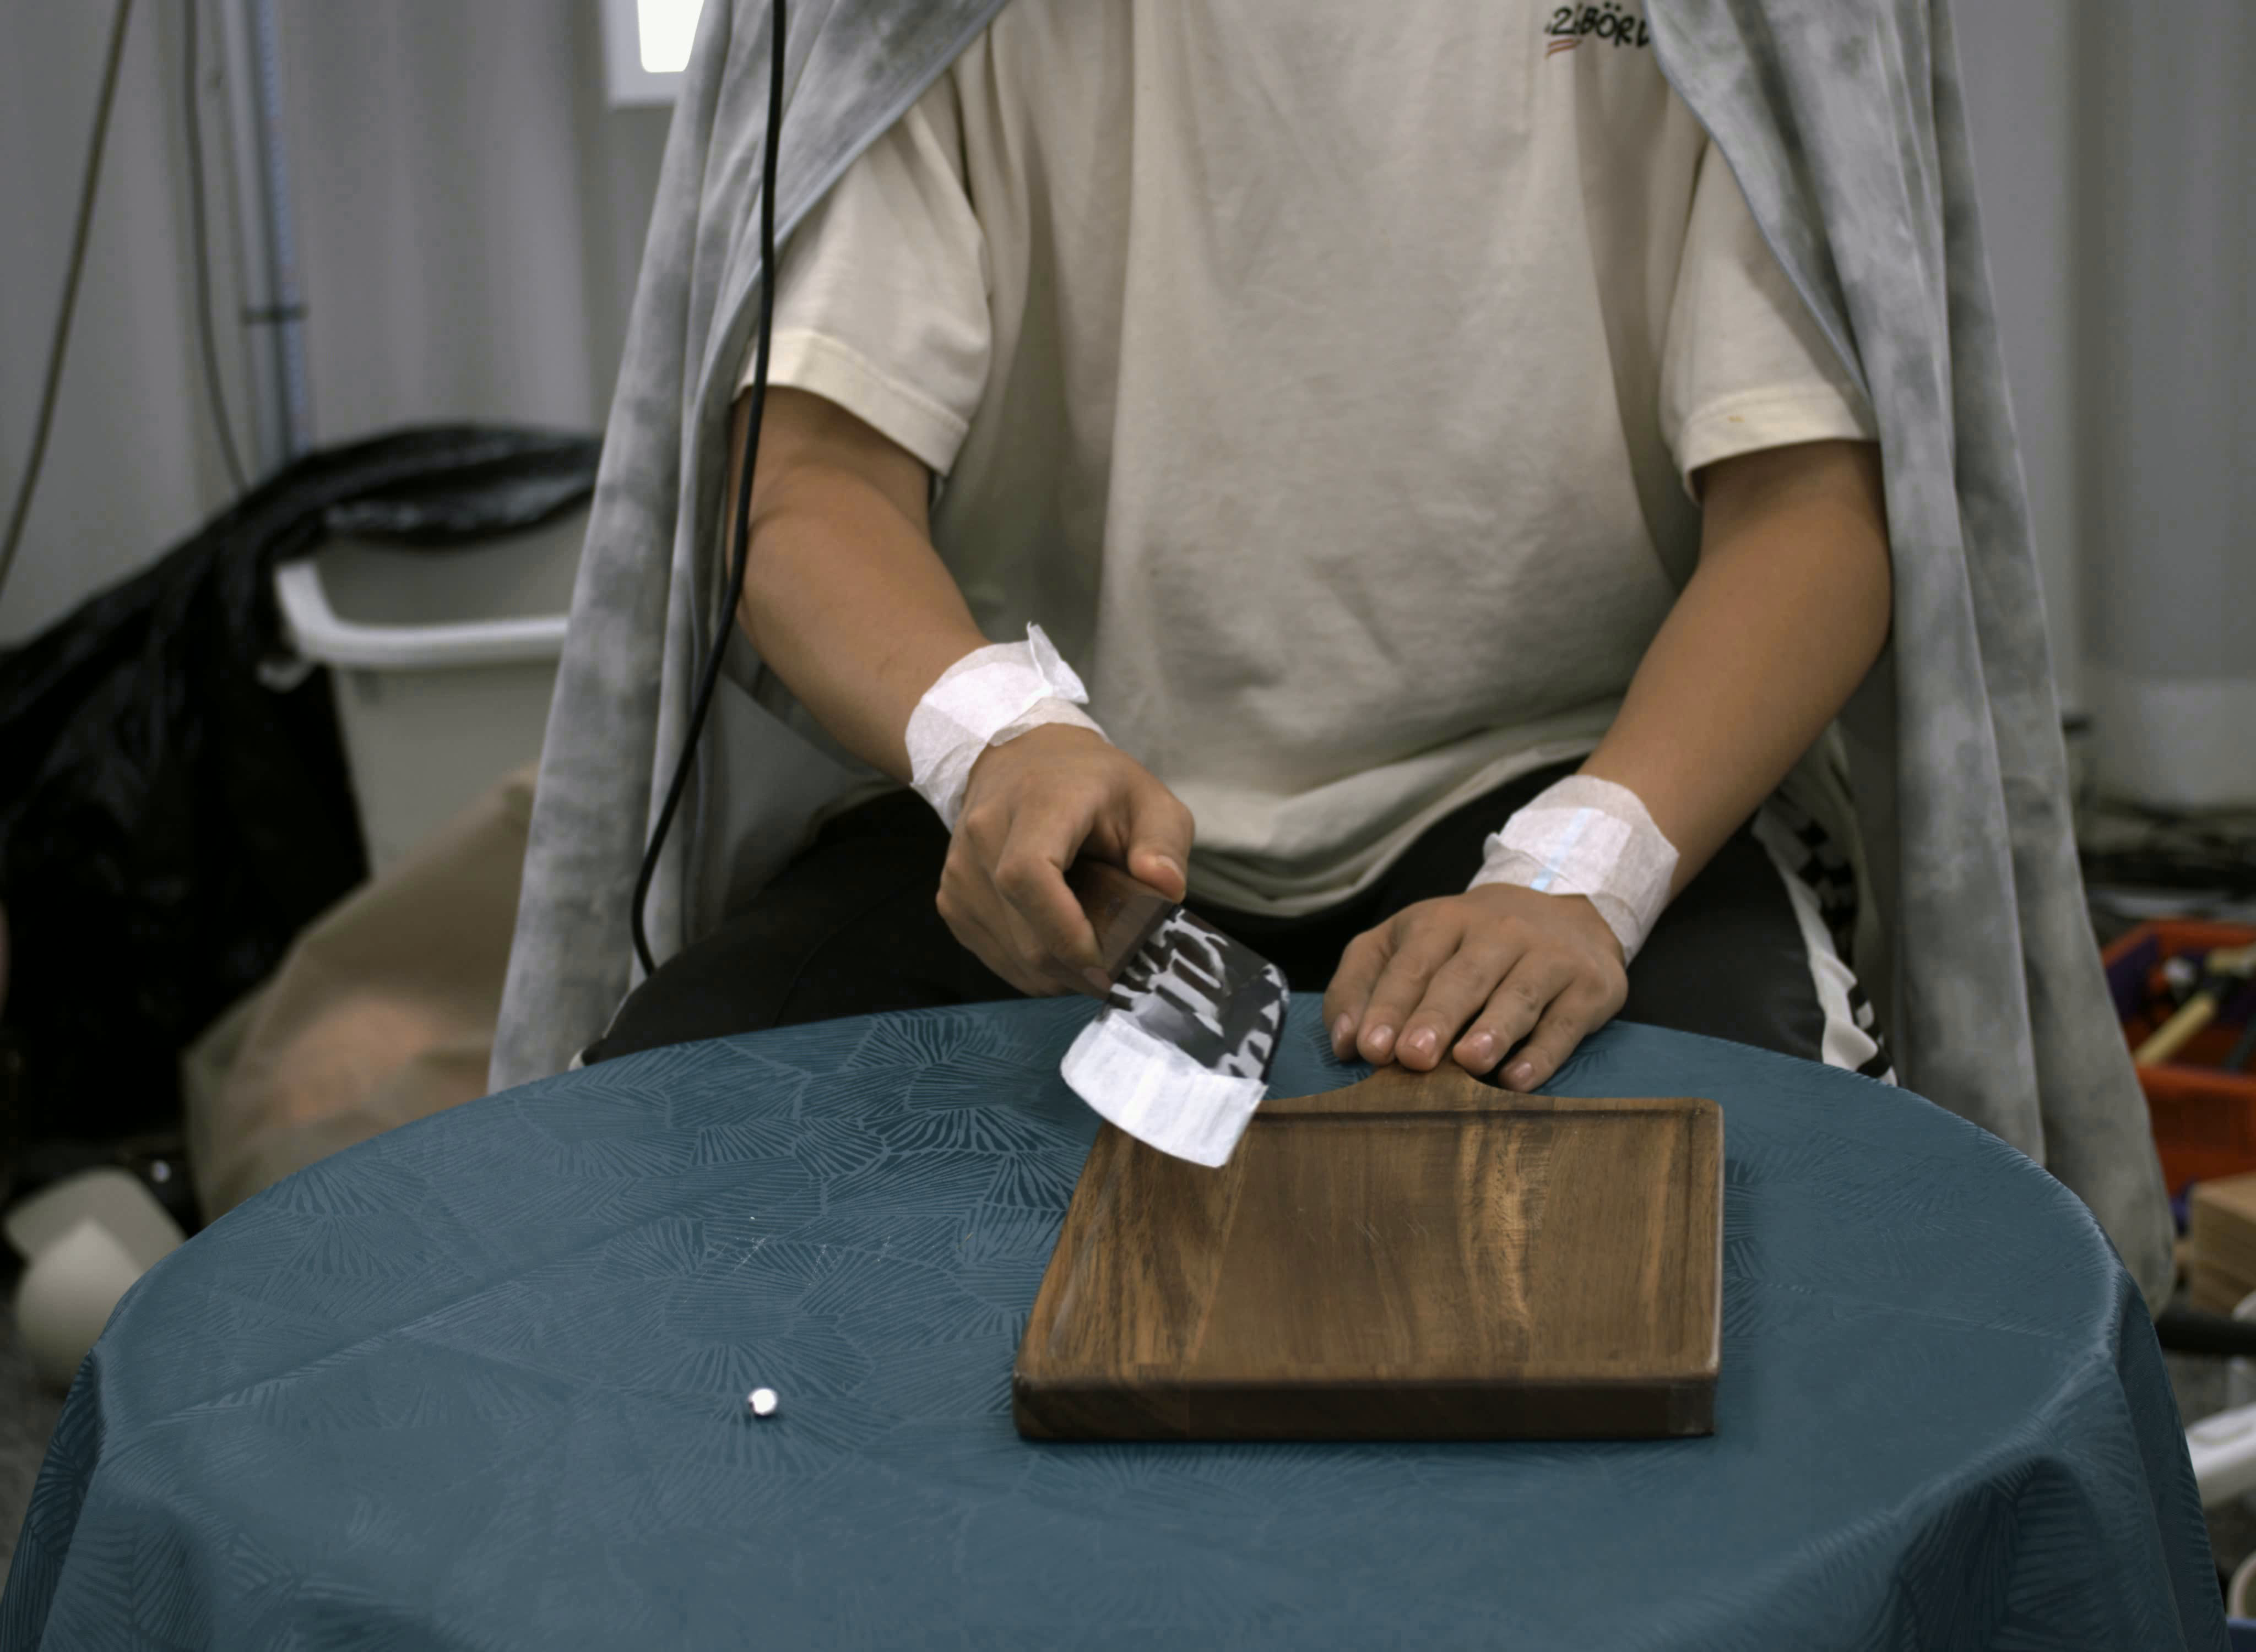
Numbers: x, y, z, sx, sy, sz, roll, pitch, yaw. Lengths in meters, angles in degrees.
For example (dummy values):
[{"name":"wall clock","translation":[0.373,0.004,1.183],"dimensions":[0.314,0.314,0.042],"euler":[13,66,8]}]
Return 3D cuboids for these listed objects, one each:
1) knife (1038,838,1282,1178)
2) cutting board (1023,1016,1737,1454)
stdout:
[{"name":"knife","translation":[0.004,0.055,1.708],"dimensions":[0.024,0.068,0.301],"euler":[35,1,-16]},{"name":"cutting board","translation":[0.082,0.117,1.664],"dimensions":[0.200,0.023,0.354],"euler":[-3,14,6]}]
